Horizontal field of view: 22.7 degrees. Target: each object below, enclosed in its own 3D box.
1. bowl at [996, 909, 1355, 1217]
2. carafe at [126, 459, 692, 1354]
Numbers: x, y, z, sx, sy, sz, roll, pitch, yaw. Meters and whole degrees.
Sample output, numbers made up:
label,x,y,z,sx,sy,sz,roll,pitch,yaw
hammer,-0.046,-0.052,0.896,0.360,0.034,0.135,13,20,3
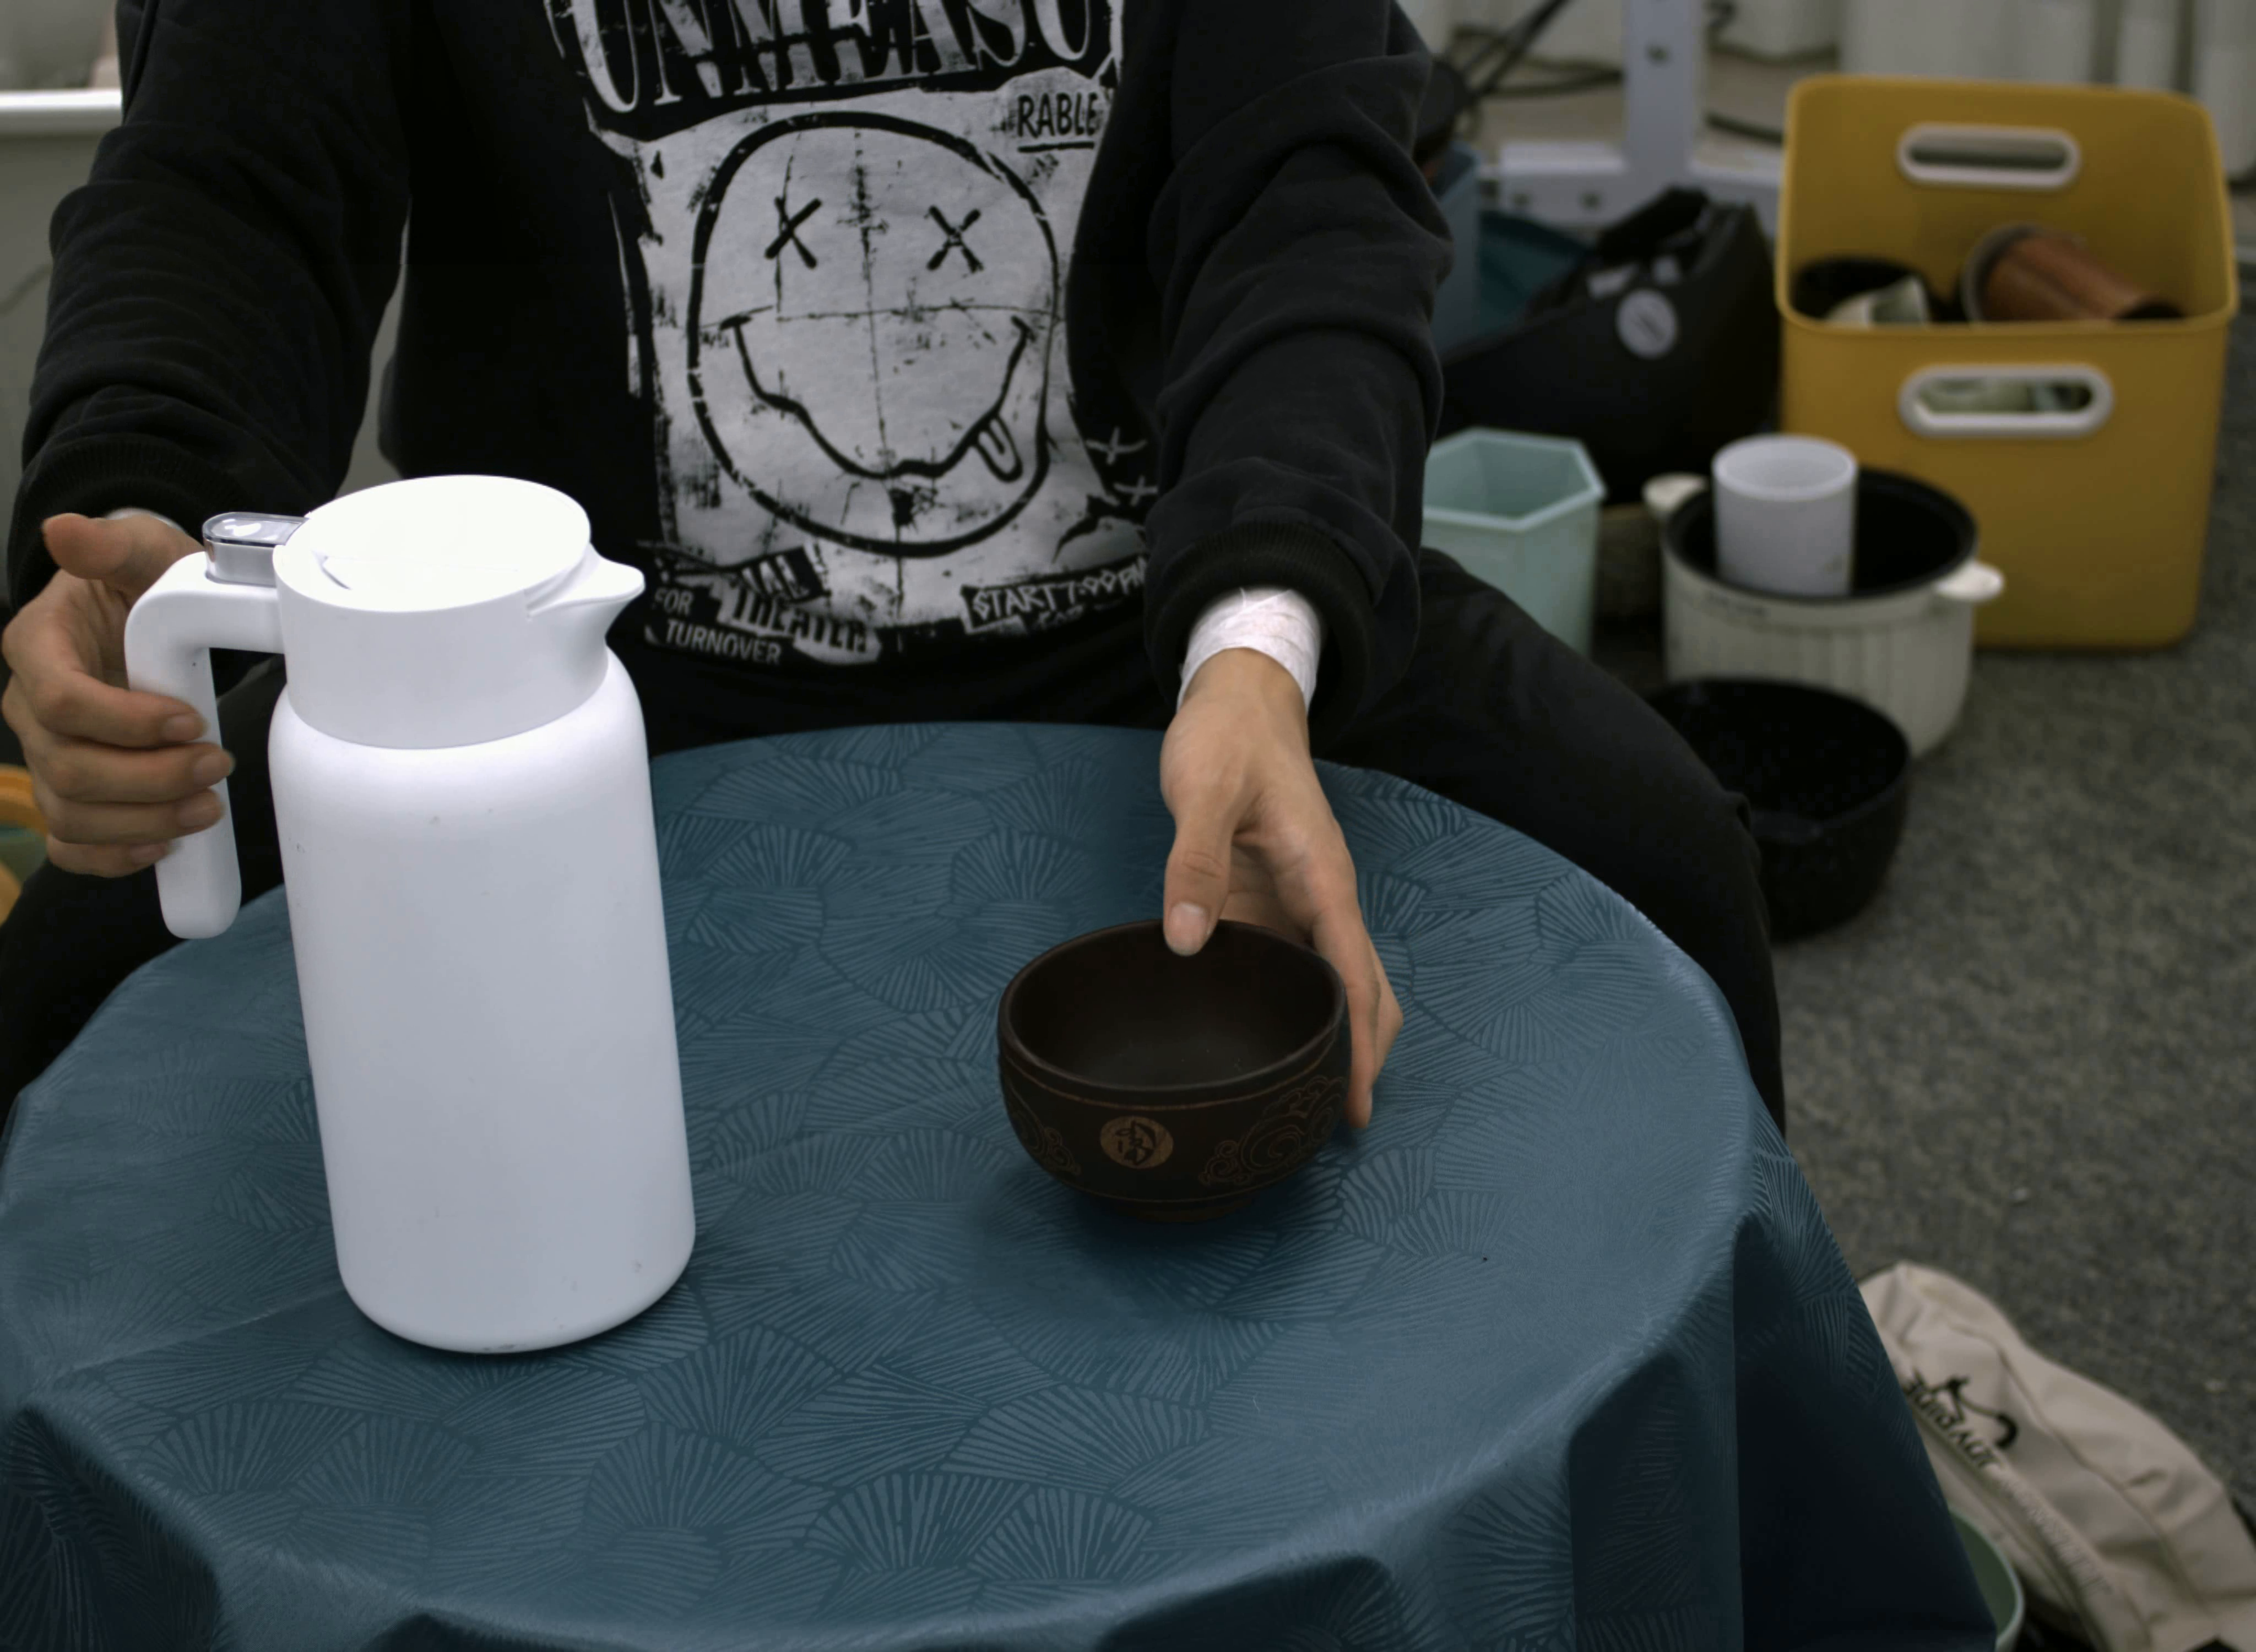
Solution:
label,x,y,z,sx,sy,sz,roll,pitch,yaw
bowl,0.016,0.085,1.848,0.117,0.069,0.120,-3,26,2
carafe,-0.223,0.027,1.778,0.171,0.266,0.126,4,29,14
